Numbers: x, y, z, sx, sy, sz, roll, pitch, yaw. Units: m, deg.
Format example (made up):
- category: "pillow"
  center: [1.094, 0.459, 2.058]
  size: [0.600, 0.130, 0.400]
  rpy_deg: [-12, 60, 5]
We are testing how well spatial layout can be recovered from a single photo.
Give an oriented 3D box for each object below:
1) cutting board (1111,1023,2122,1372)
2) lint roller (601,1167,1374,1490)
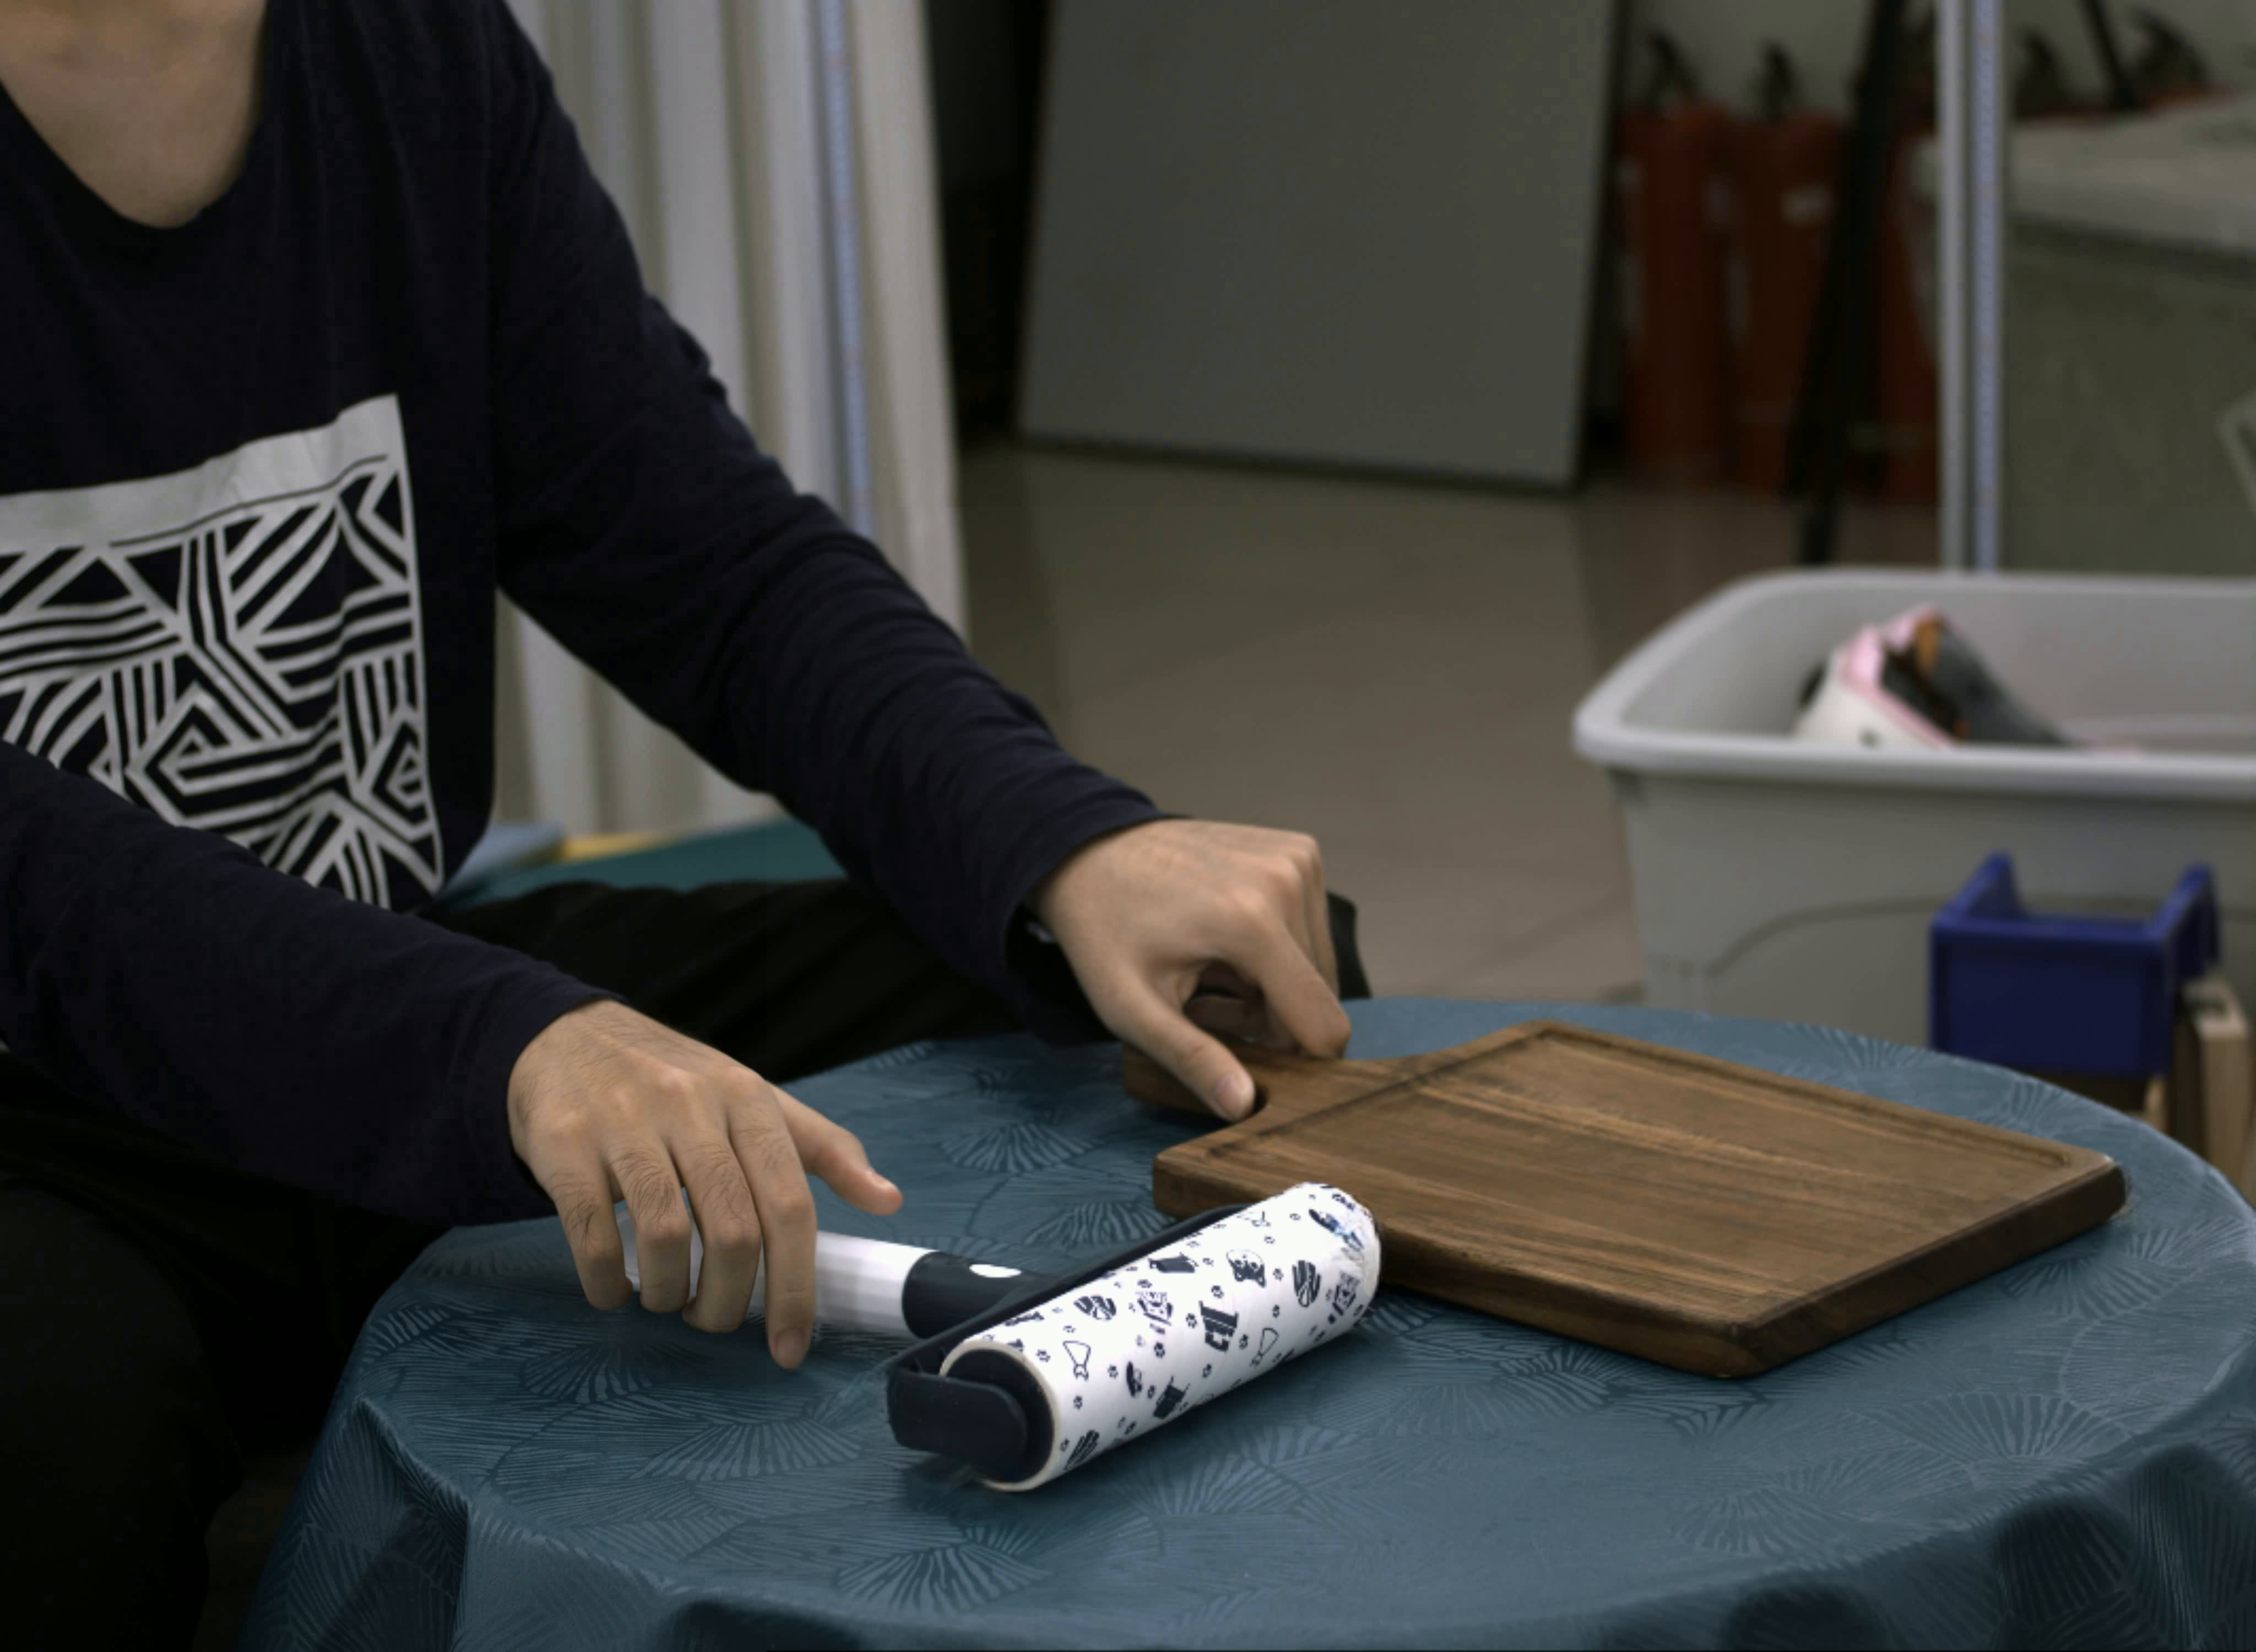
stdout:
- category: "cutting board"
  center: [0.125, 0.106, 1.739]
  size: [0.197, 0.023, 0.355]
  rpy_deg: [-16, 19, -41]
- category: "lint roller"
  center: [-0.069, 0.141, 1.629]
  size: [0.249, 0.051, 0.173]
  rpy_deg: [4, 16, 39]
